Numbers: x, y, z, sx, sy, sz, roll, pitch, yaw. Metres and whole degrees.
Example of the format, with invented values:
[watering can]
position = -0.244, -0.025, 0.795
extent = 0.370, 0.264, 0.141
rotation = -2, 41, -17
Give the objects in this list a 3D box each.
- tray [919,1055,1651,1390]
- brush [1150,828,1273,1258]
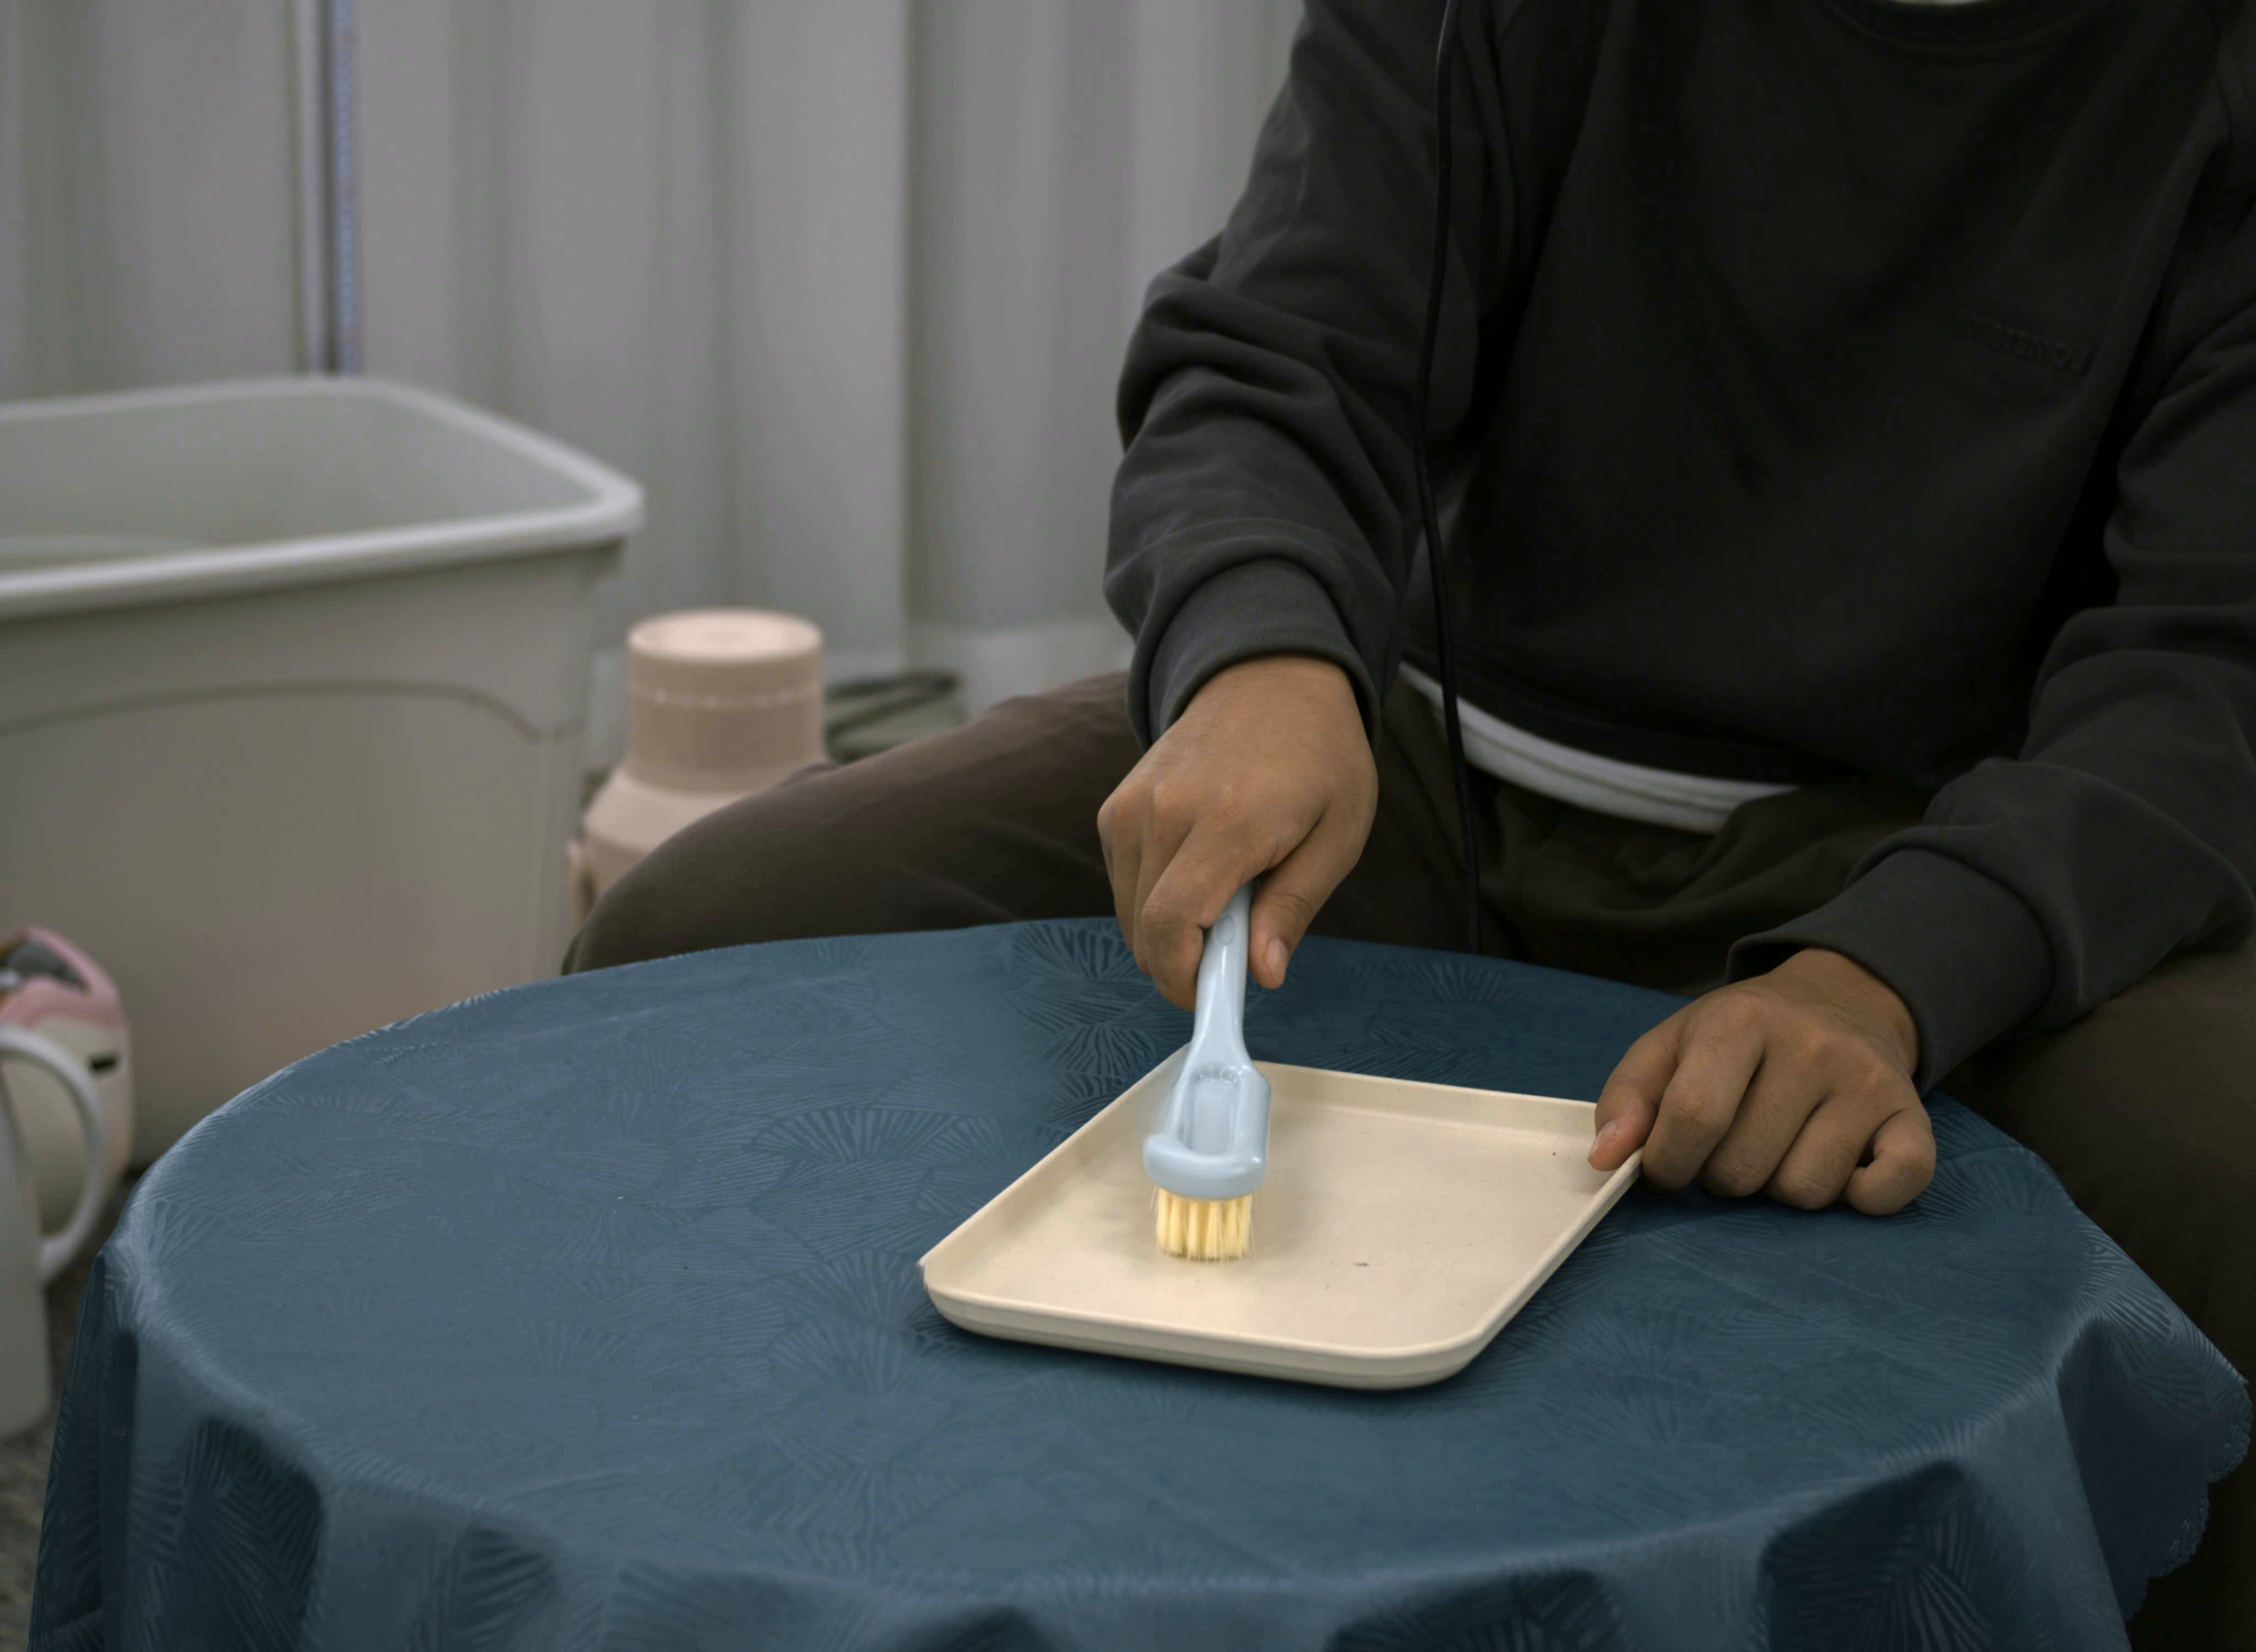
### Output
[tray]
position = 0.051, 0.117, 1.578
extent = 0.169, 0.017, 0.240
rotation = 7, 16, 19
[brush]
position = 0.026, 0.064, 1.649
extent = 0.037, 0.050, 0.227
rotation = 2, 31, 0
